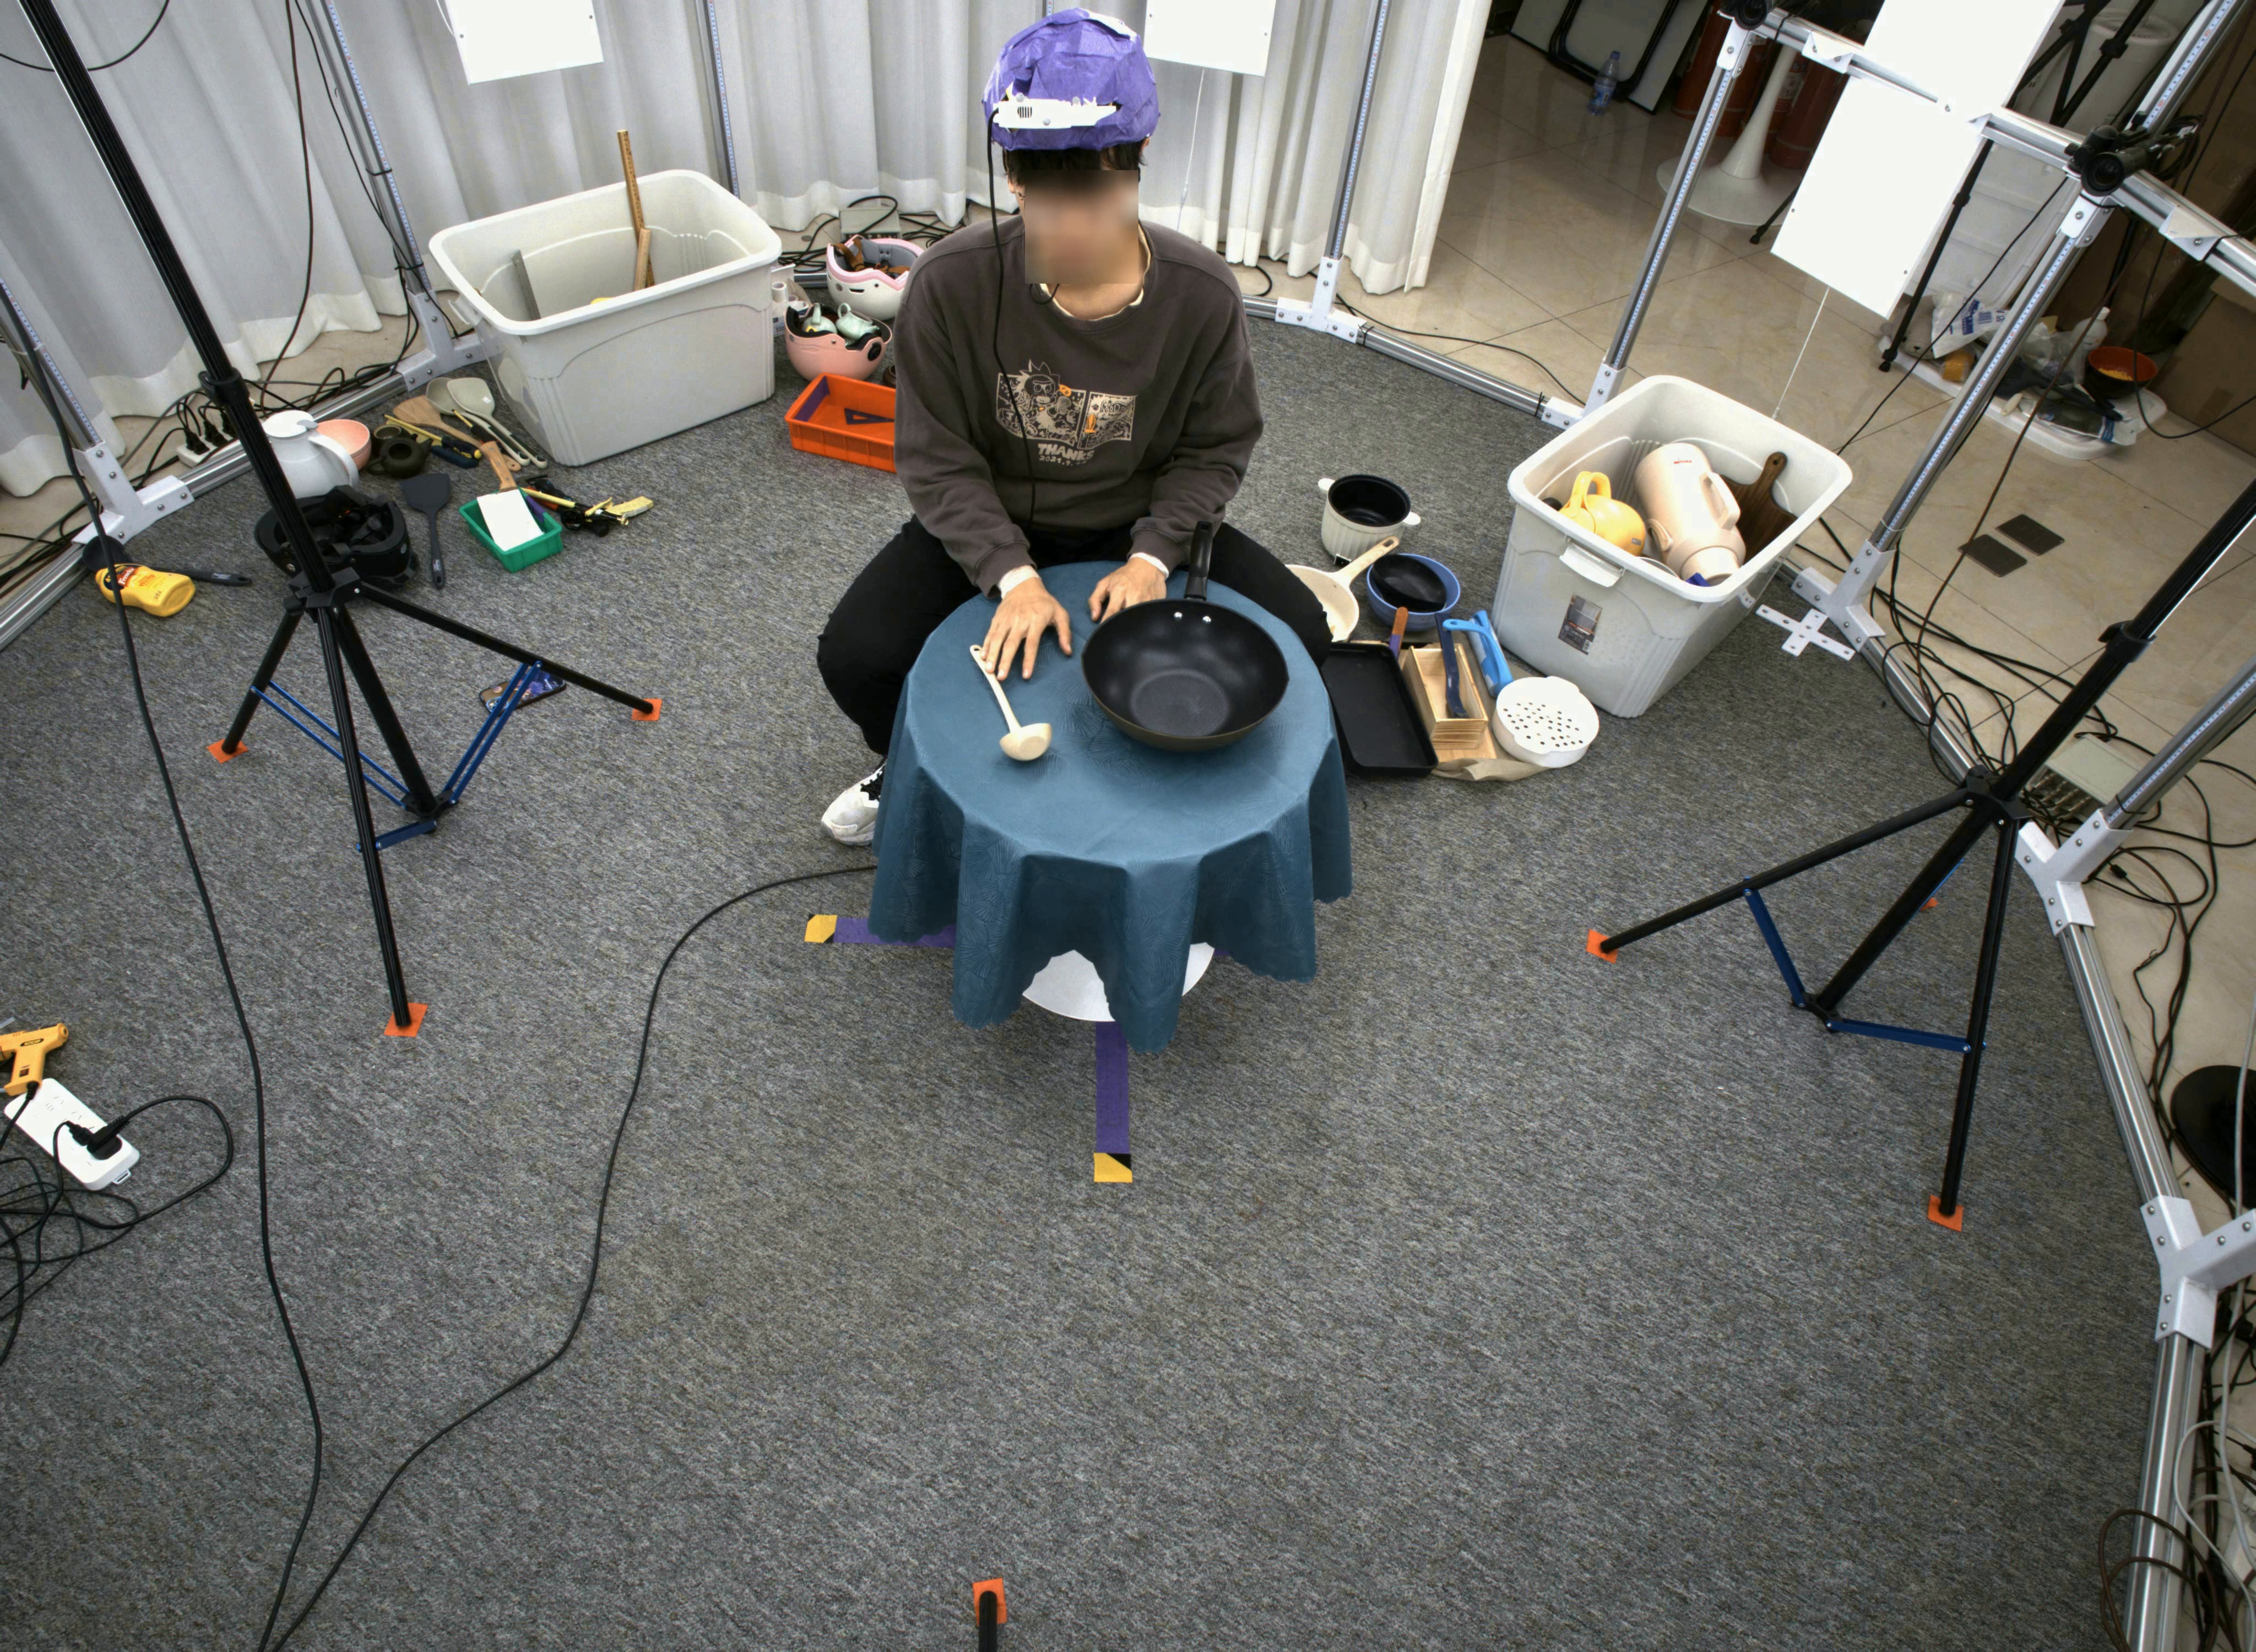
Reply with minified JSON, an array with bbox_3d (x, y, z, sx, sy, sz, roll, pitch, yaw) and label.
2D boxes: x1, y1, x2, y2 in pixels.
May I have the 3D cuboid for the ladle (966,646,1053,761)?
[{"bbox_3d":[-0.177,-0.192,1.775,0.072,0.071,0.260,-20,53,-14],"label":"ladle"}]

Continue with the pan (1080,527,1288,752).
[{"bbox_3d":[0.086,-0.264,1.848,0.288,0.085,0.474,7,48,3],"label":"pan"}]
